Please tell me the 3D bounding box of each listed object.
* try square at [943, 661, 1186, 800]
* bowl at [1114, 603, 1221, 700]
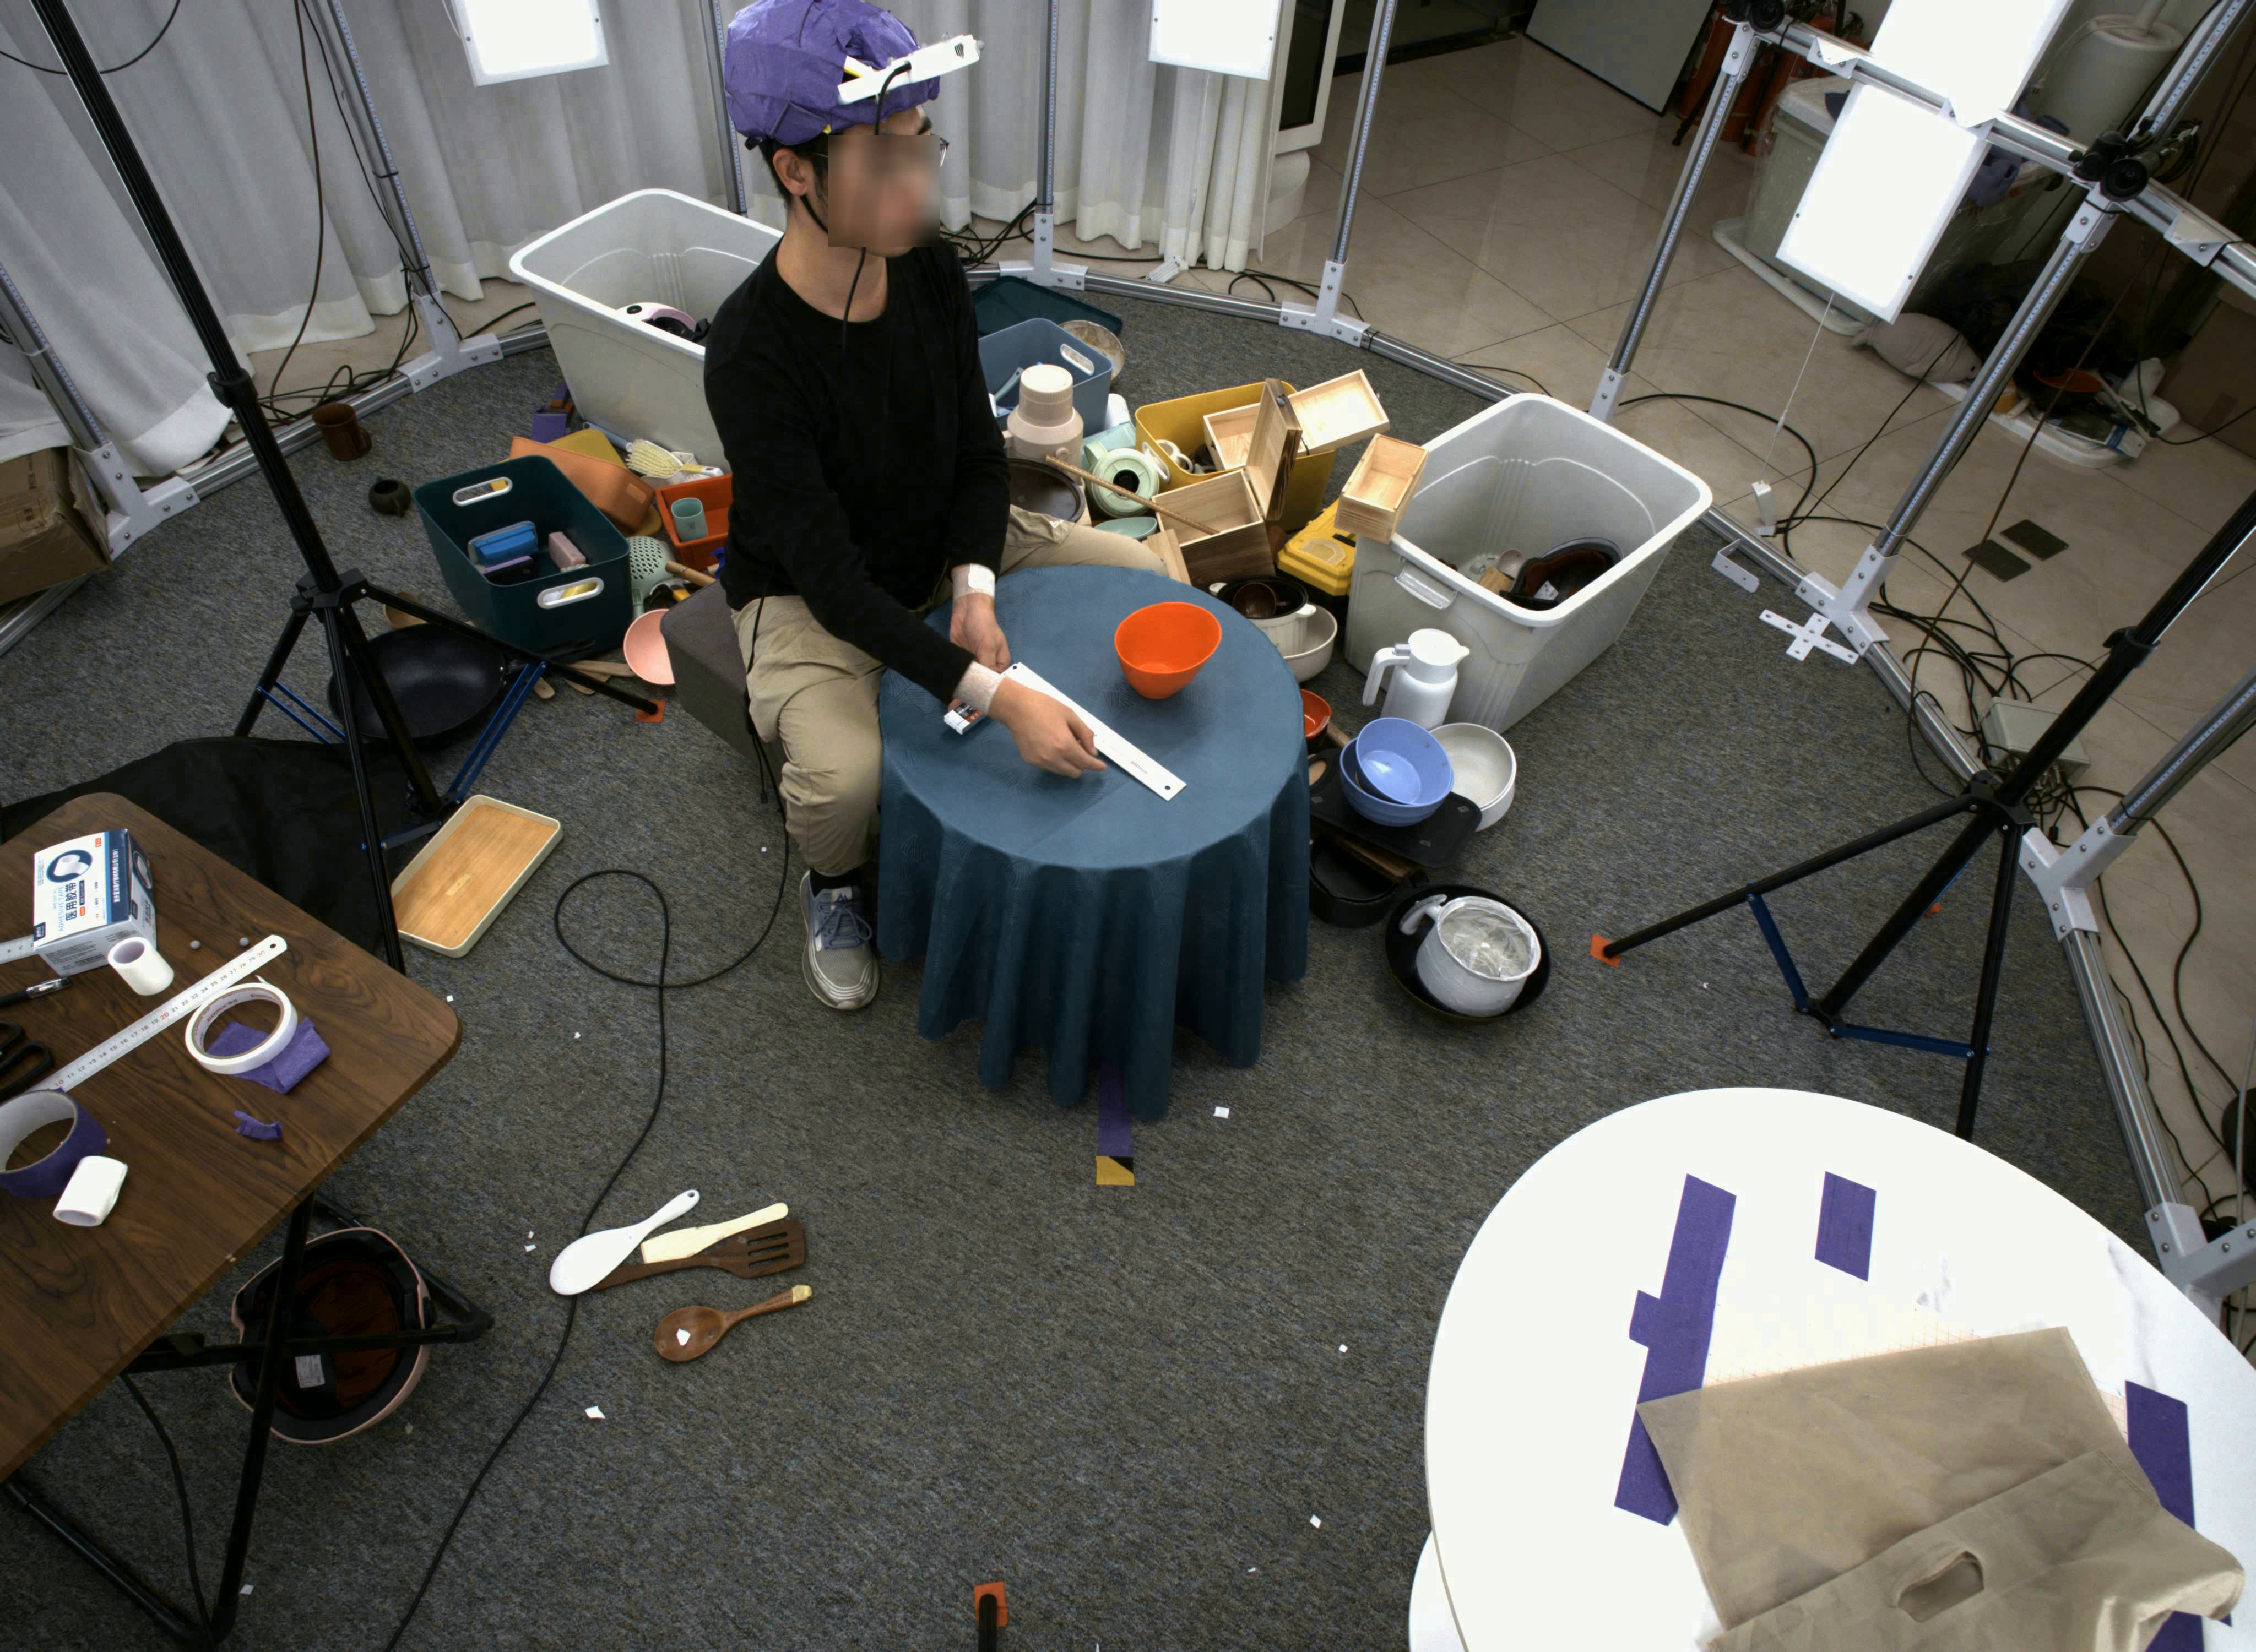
[{"bbox_3d":[-0.087,-0.104,1.740,0.317,0.015,0.154,37,59,20],"label":"try square"},{"bbox_3d":[0.052,-0.235,1.813,0.148,0.102,0.152,1,50,-2],"label":"bowl"}]
